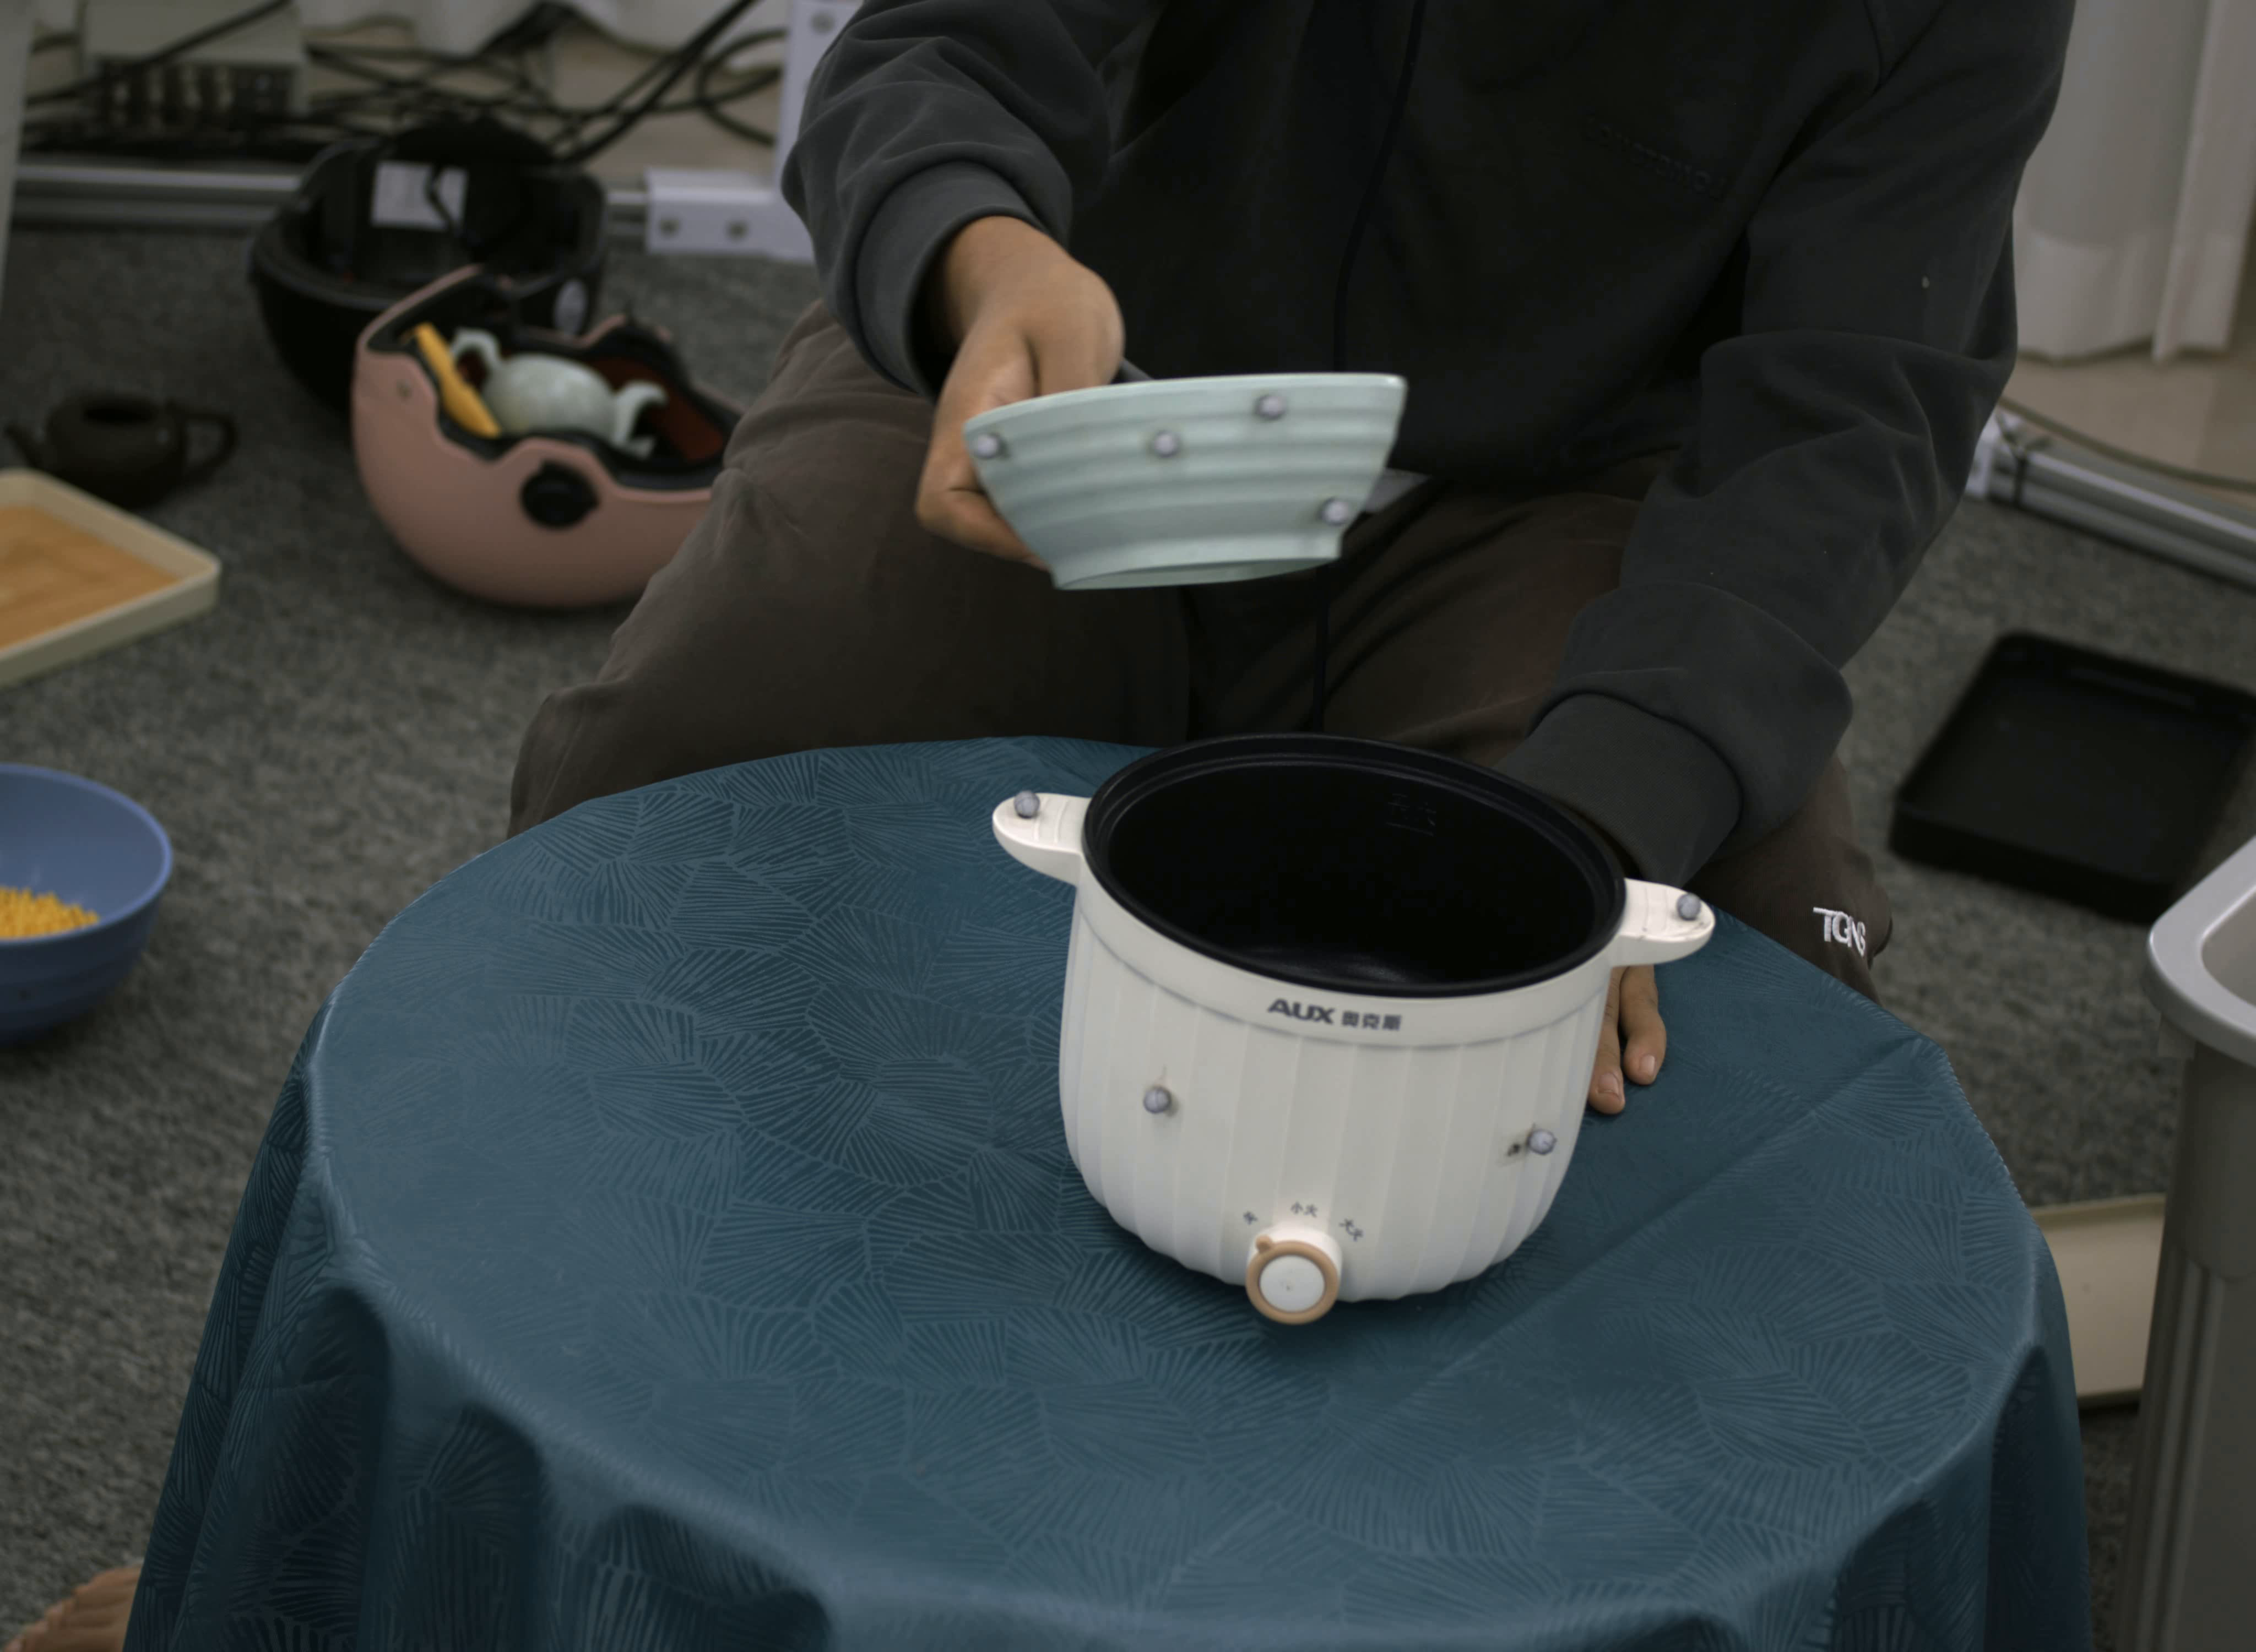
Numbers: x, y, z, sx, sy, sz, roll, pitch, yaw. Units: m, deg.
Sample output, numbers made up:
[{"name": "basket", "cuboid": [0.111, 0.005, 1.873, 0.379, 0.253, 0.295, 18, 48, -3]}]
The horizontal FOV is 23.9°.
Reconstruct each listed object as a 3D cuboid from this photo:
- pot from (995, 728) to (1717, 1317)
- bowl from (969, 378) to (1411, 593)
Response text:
[{"name": "pot", "cuboid": [0.069, 0.069, 1.776, 0.240, 0.142, 0.191, 6, 23, 2]}, {"name": "bowl", "cuboid": [0.022, -0.111, 1.765, 0.151, 0.059, 0.151, -5, -1, 0]}]
